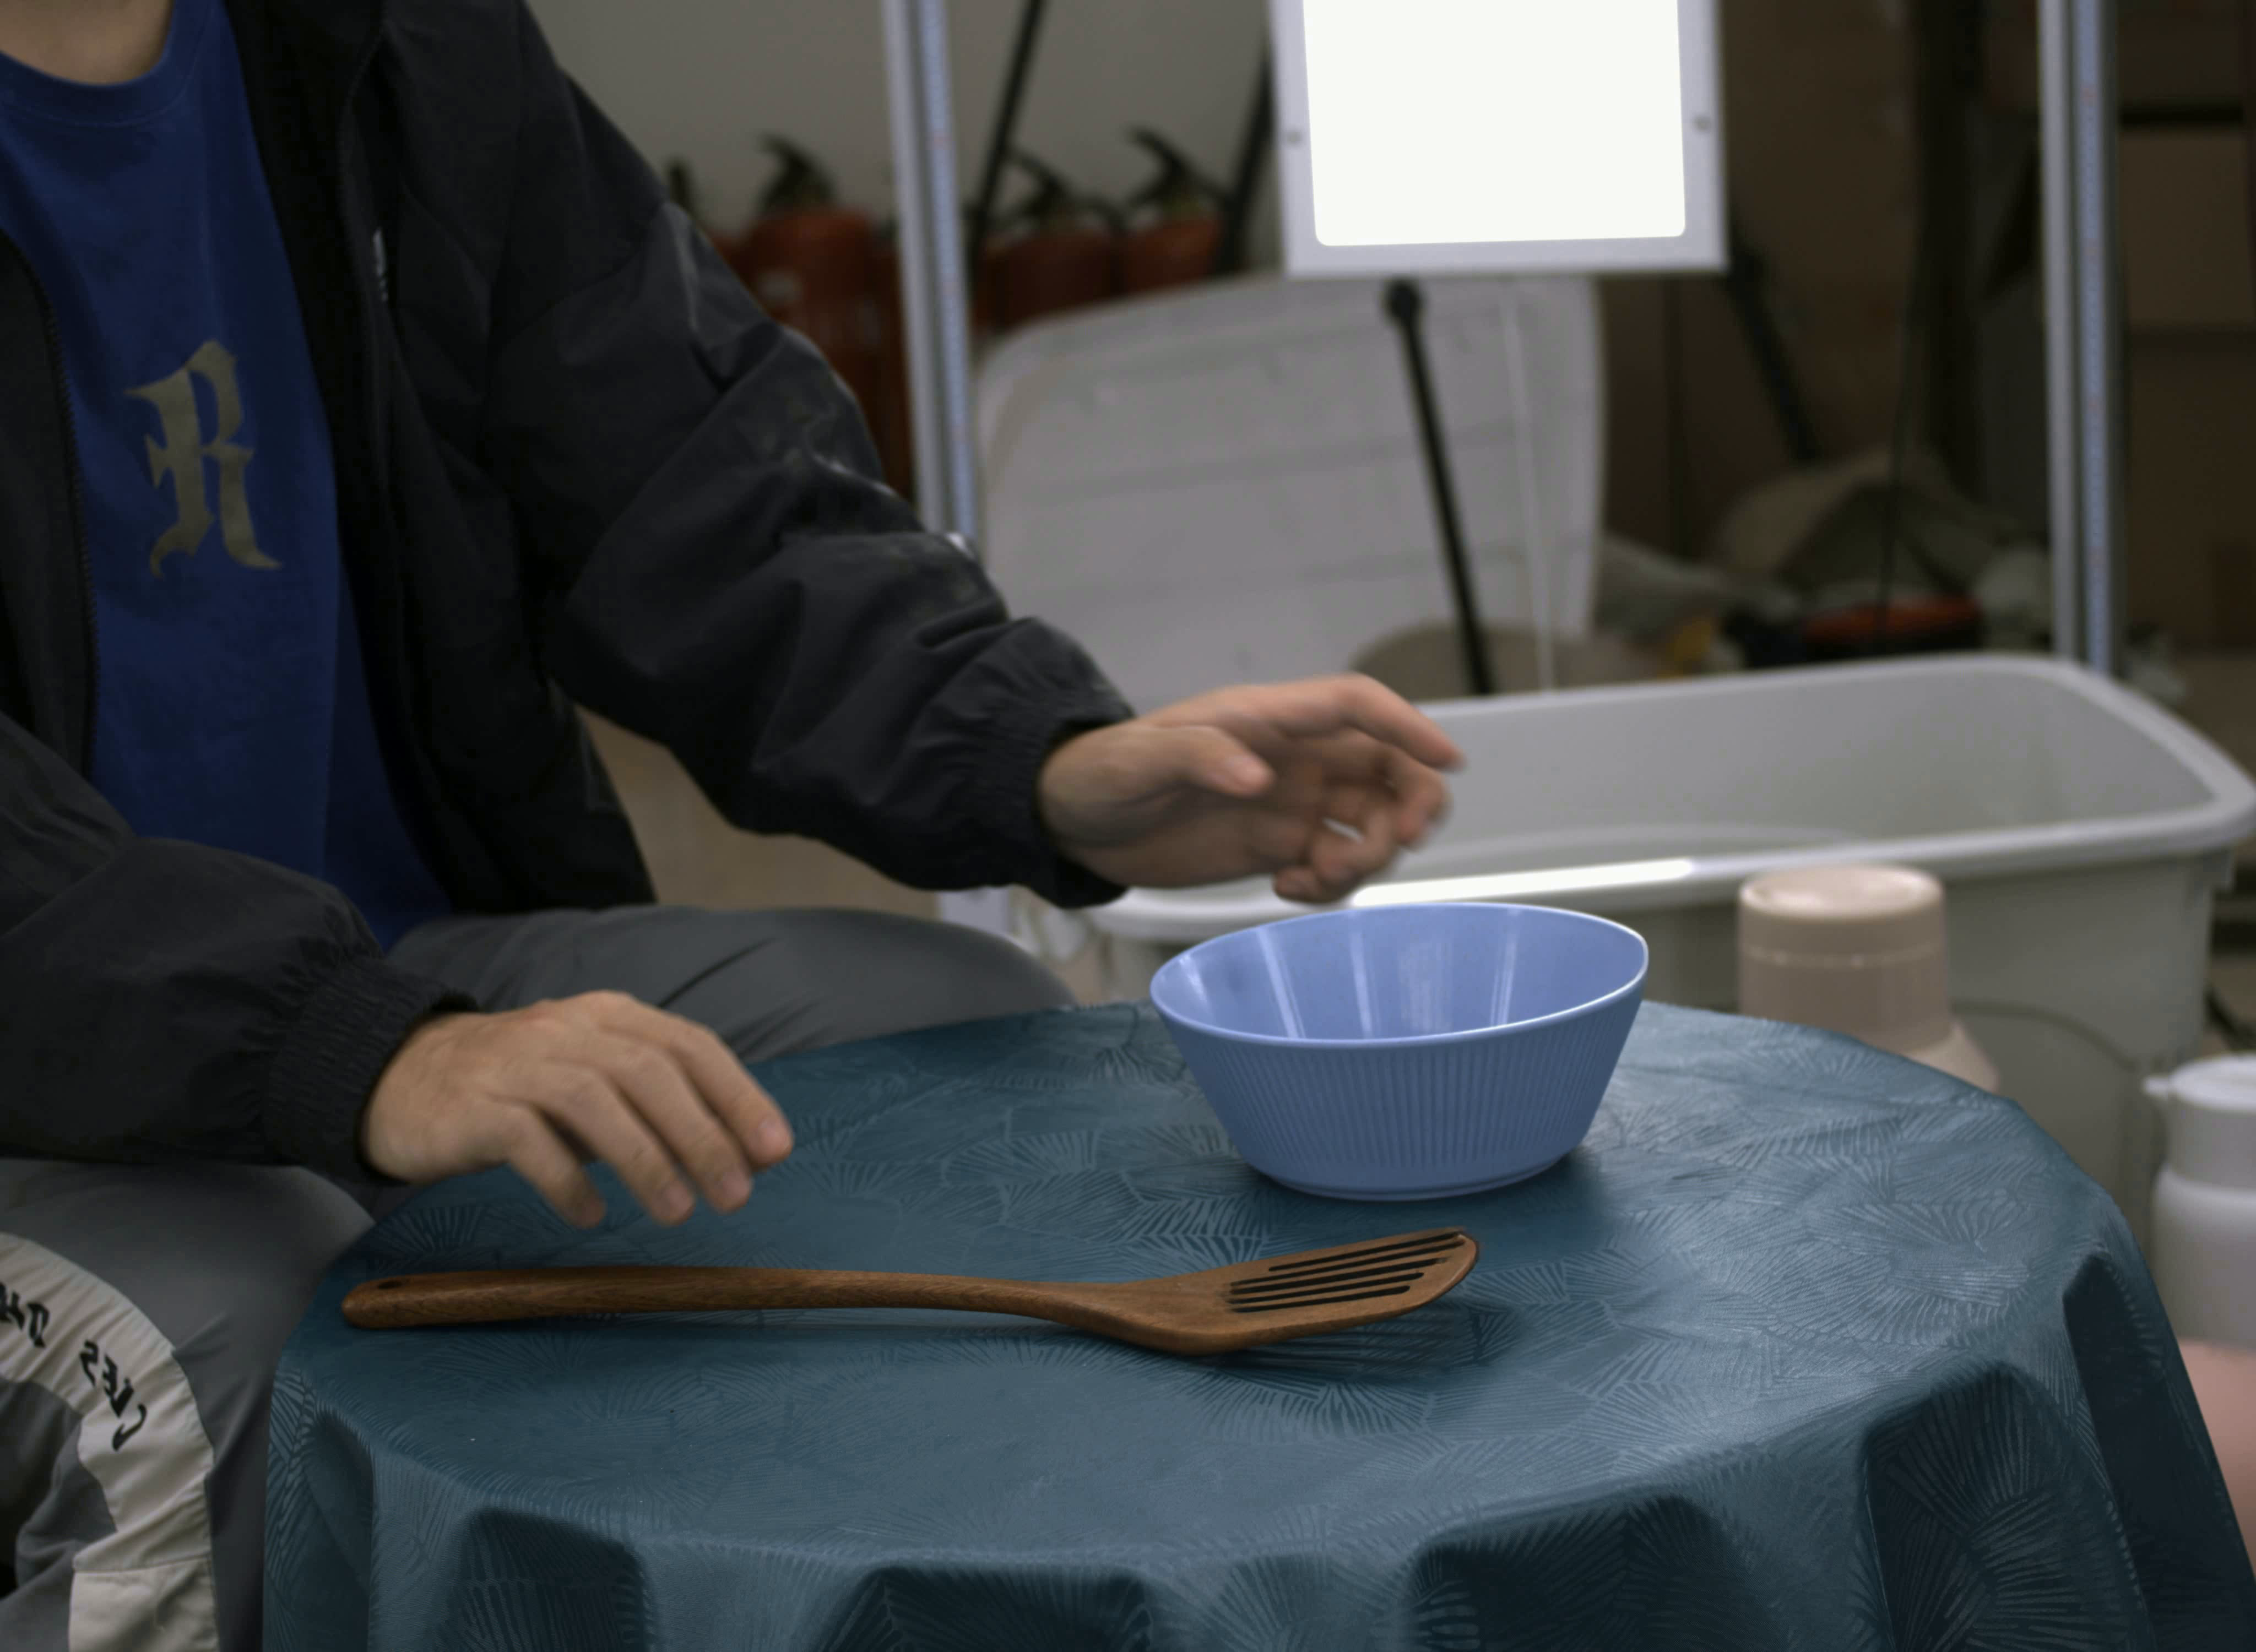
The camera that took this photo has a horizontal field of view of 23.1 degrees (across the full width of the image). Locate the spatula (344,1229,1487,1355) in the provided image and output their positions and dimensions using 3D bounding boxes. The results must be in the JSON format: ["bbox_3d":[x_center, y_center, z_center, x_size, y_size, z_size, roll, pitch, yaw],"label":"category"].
[{"bbox_3d":[-0.075,0.152,1.778,0.391,0.024,0.084,-2,13,19],"label":"spatula"}]

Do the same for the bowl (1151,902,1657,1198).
[{"bbox_3d":[0.098,0.080,1.901,0.175,0.070,0.176,-6,13,0],"label":"bowl"}]
